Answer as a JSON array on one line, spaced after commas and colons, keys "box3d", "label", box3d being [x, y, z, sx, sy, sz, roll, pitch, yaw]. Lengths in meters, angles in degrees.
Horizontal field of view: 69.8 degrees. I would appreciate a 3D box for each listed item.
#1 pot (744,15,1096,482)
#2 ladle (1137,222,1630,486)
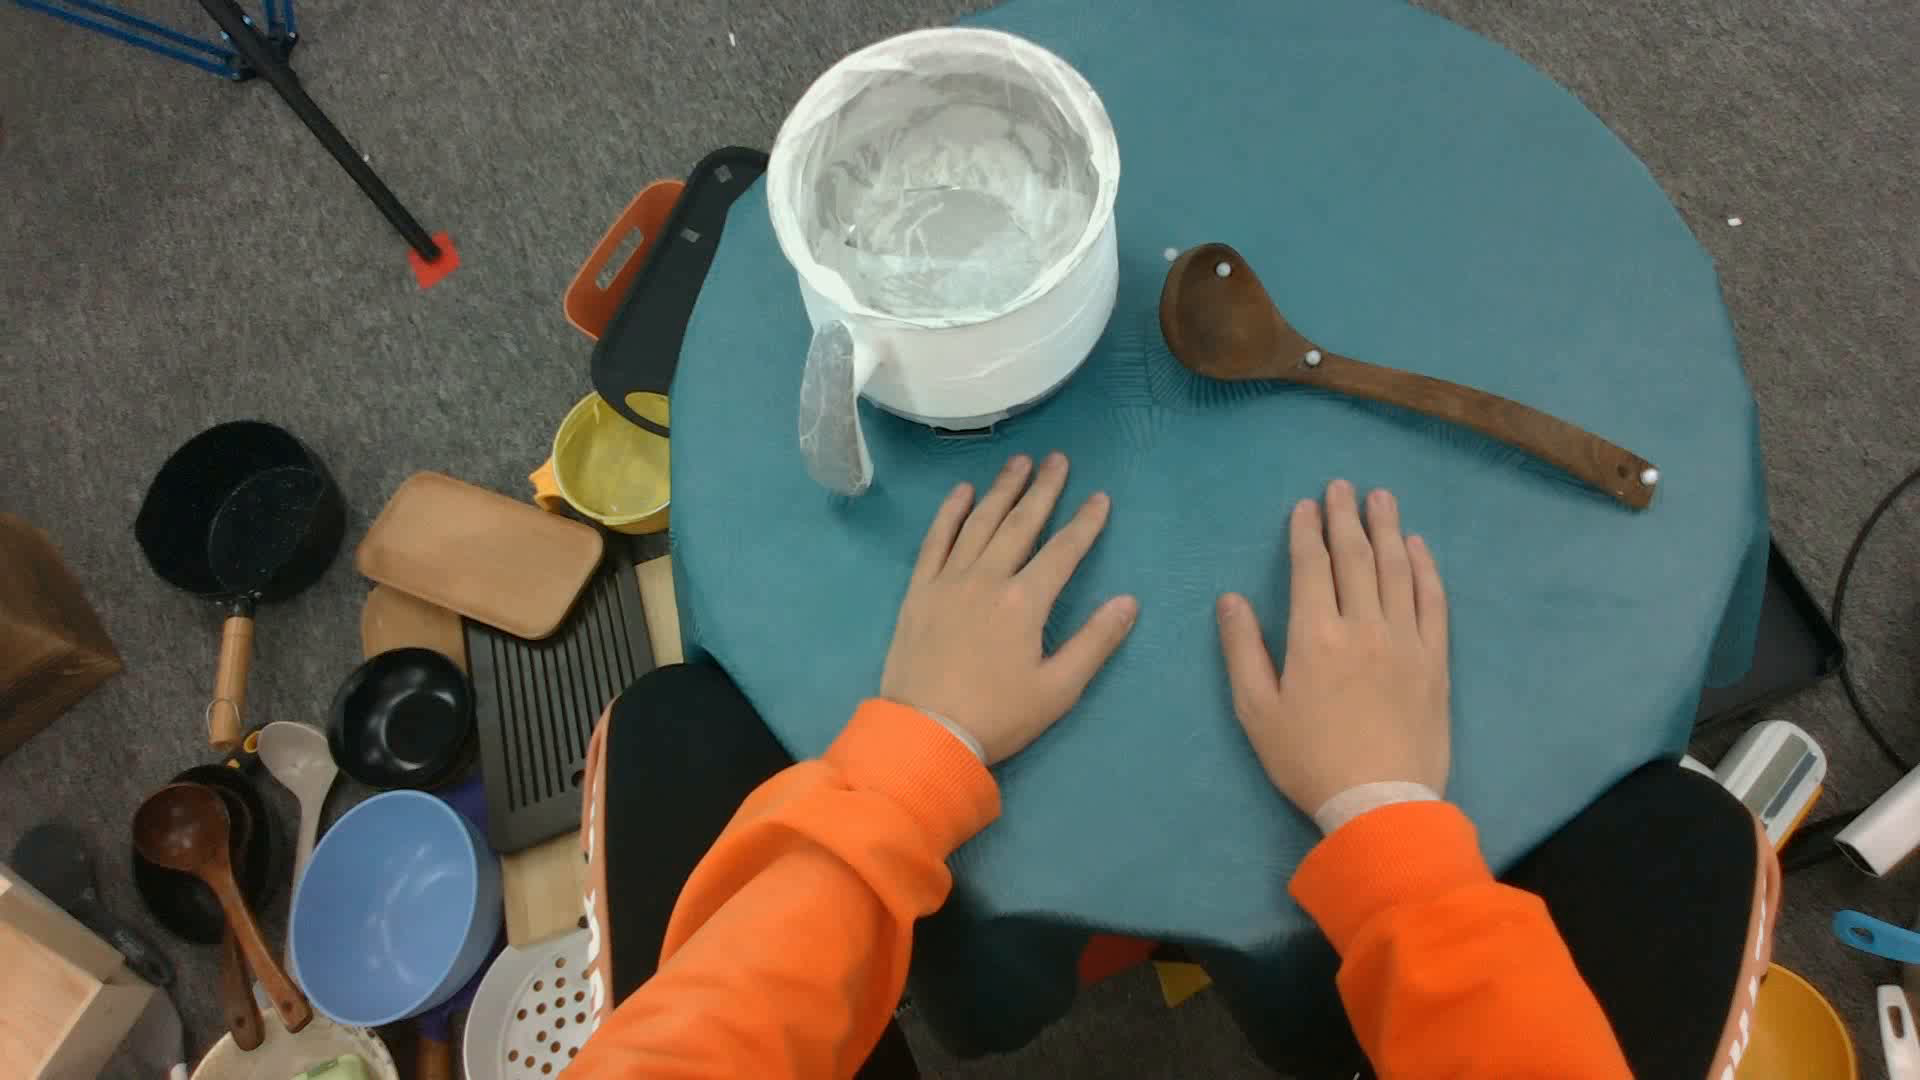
[{"box3d": [-0.028, -0.145, 0.738, 0.178, 0.136, 0.234, 25, 73, 14], "label": "pot"}, {"box3d": [0.226, -0.096, 0.732, 0.274, 0.071, 0.076, 22, 76, 14], "label": "ladle"}]
